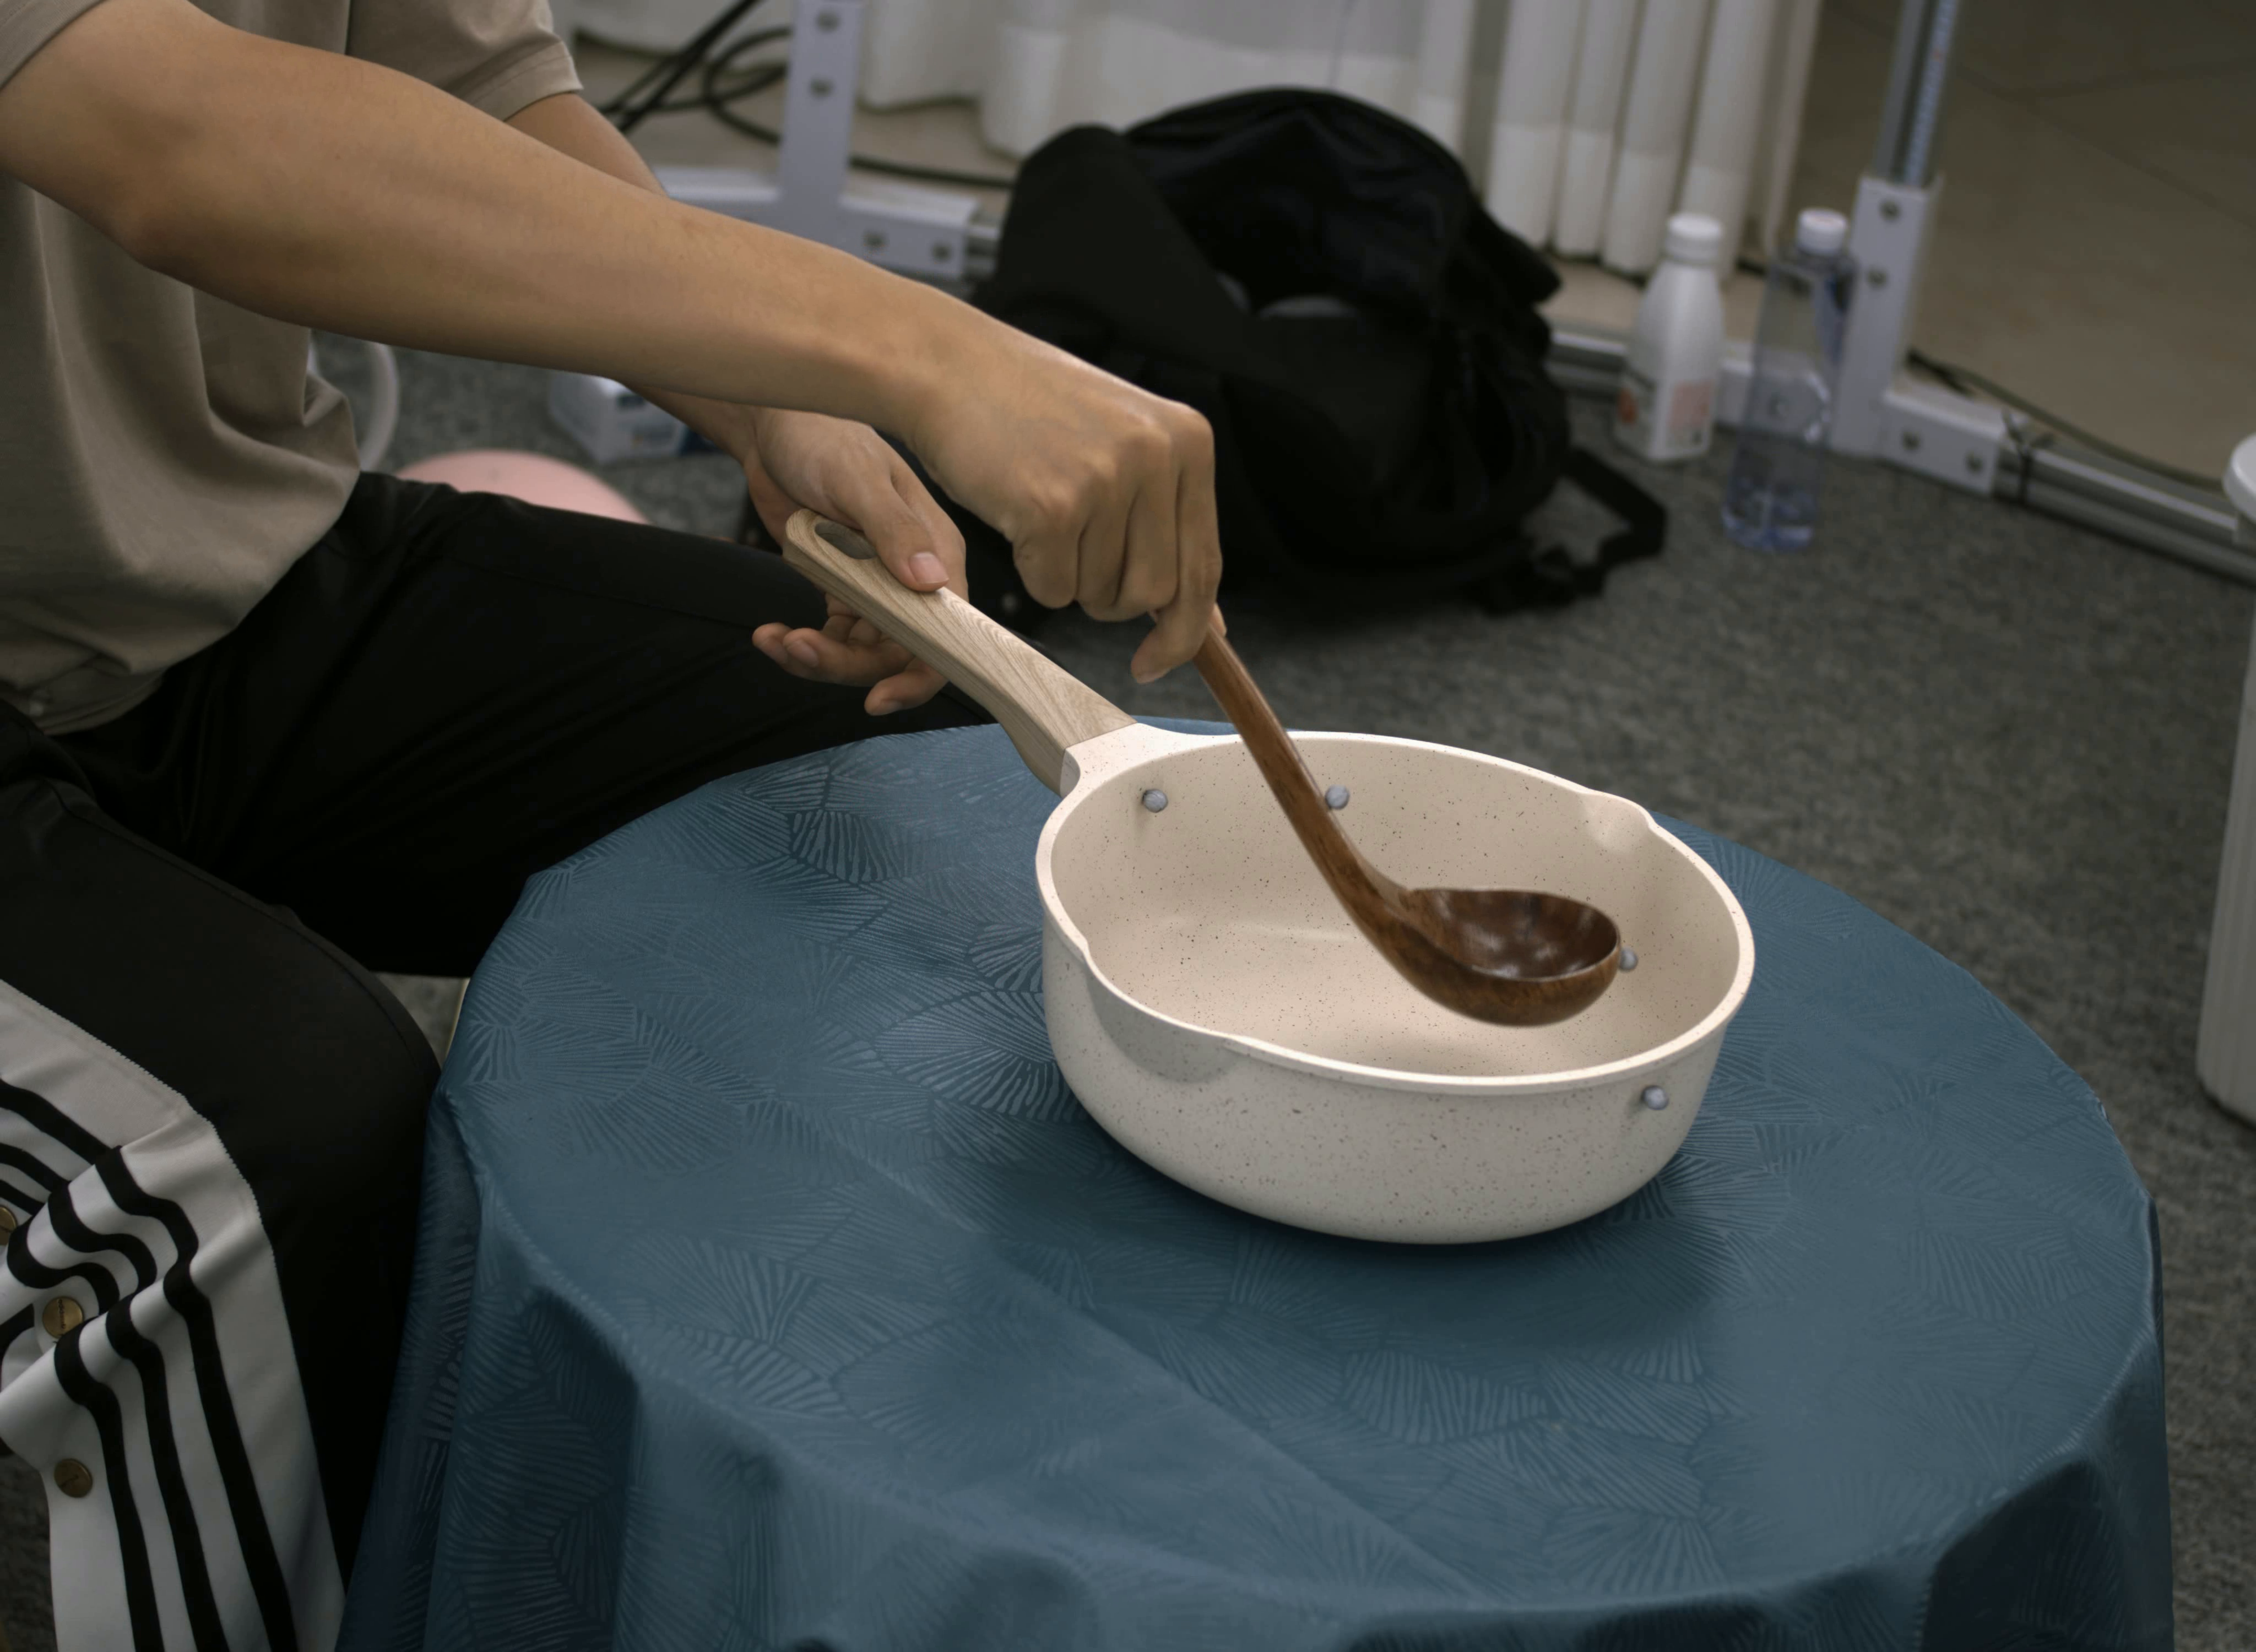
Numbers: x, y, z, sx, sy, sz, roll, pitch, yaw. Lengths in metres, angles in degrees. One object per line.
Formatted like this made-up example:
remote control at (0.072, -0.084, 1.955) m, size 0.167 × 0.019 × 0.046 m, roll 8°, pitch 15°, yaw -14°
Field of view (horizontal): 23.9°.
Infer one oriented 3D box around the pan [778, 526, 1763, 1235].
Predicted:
pan at (0.027, 0.015, 1.914) m, size 0.438 × 0.101 × 0.262 m, roll 29°, pitch 36°, yaw 36°

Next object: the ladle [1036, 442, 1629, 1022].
ladle at (0.075, -0.038, 1.804) m, size 0.076 × 0.272 × 0.082 m, roll -35°, pitch 21°, yaw 2°
